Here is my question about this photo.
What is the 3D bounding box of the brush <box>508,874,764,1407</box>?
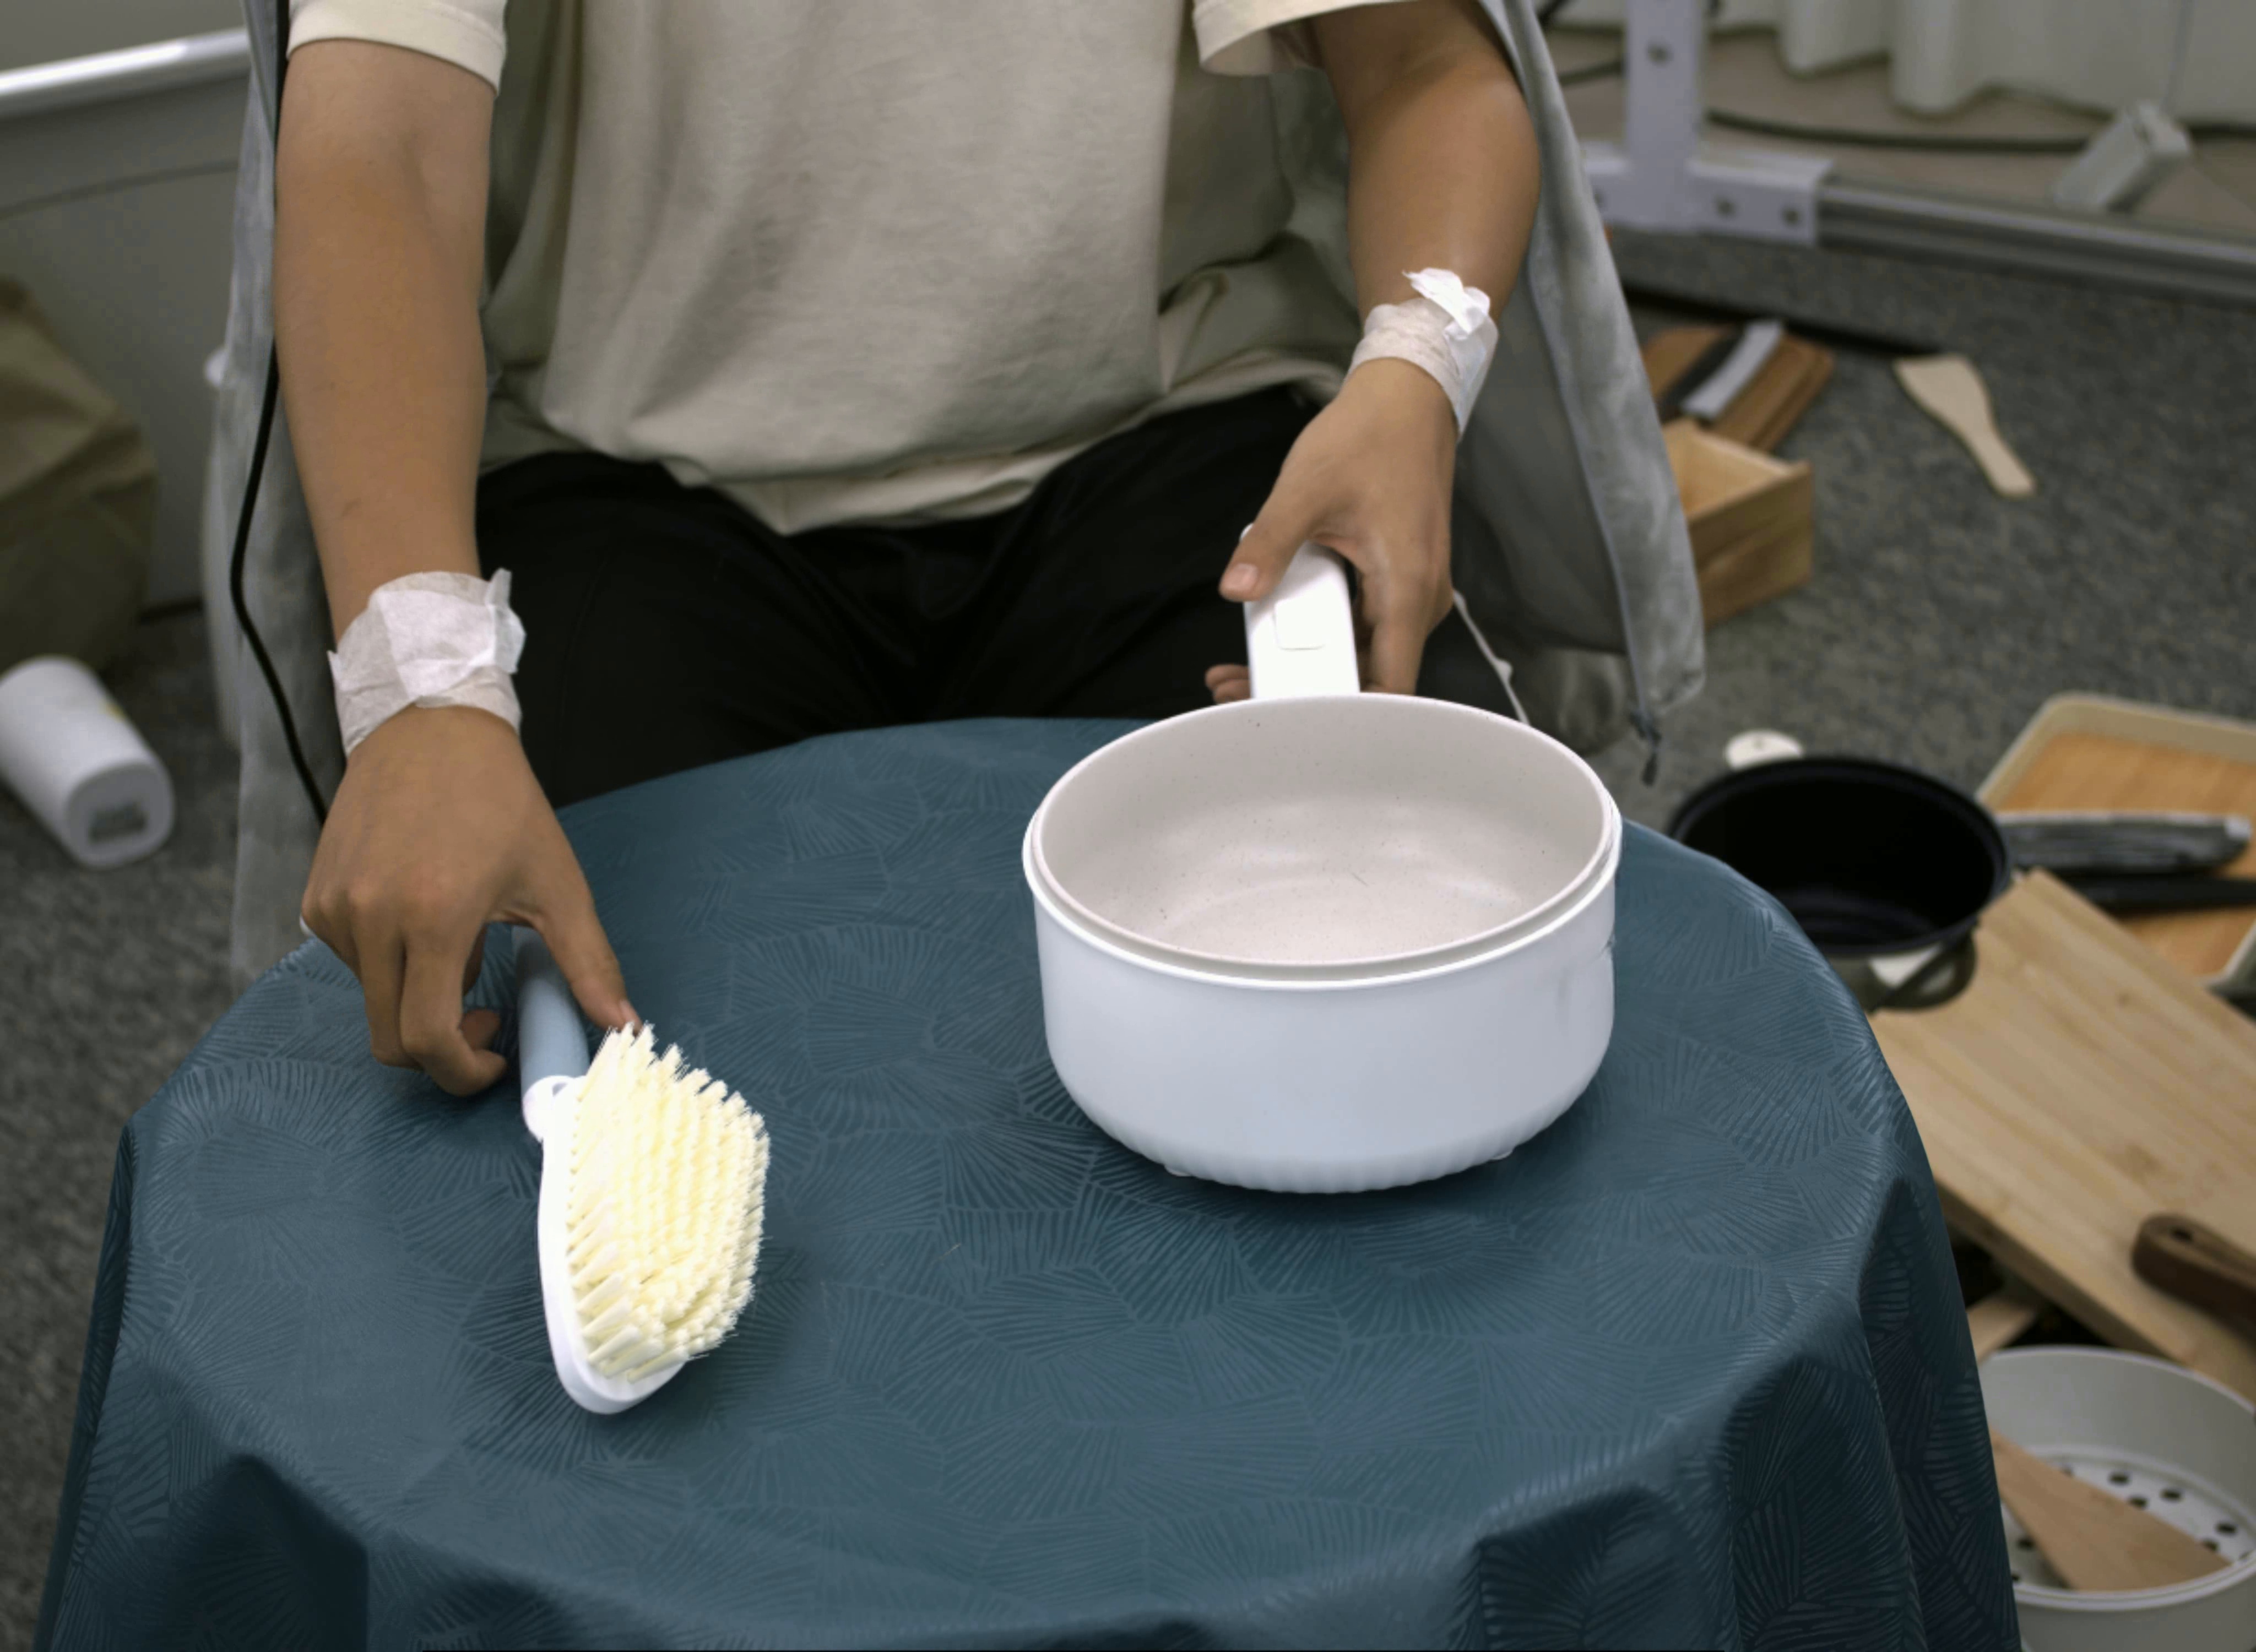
[{"bbox_3d":[-0.168,0.077,1.875,0.084,0.082,0.330,-11,28,-2],"label":"brush"}]

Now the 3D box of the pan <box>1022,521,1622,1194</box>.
[{"bbox_3d":[0.066,0.008,1.967,0.200,0.101,0.360,-3,26,0],"label":"pan"}]
